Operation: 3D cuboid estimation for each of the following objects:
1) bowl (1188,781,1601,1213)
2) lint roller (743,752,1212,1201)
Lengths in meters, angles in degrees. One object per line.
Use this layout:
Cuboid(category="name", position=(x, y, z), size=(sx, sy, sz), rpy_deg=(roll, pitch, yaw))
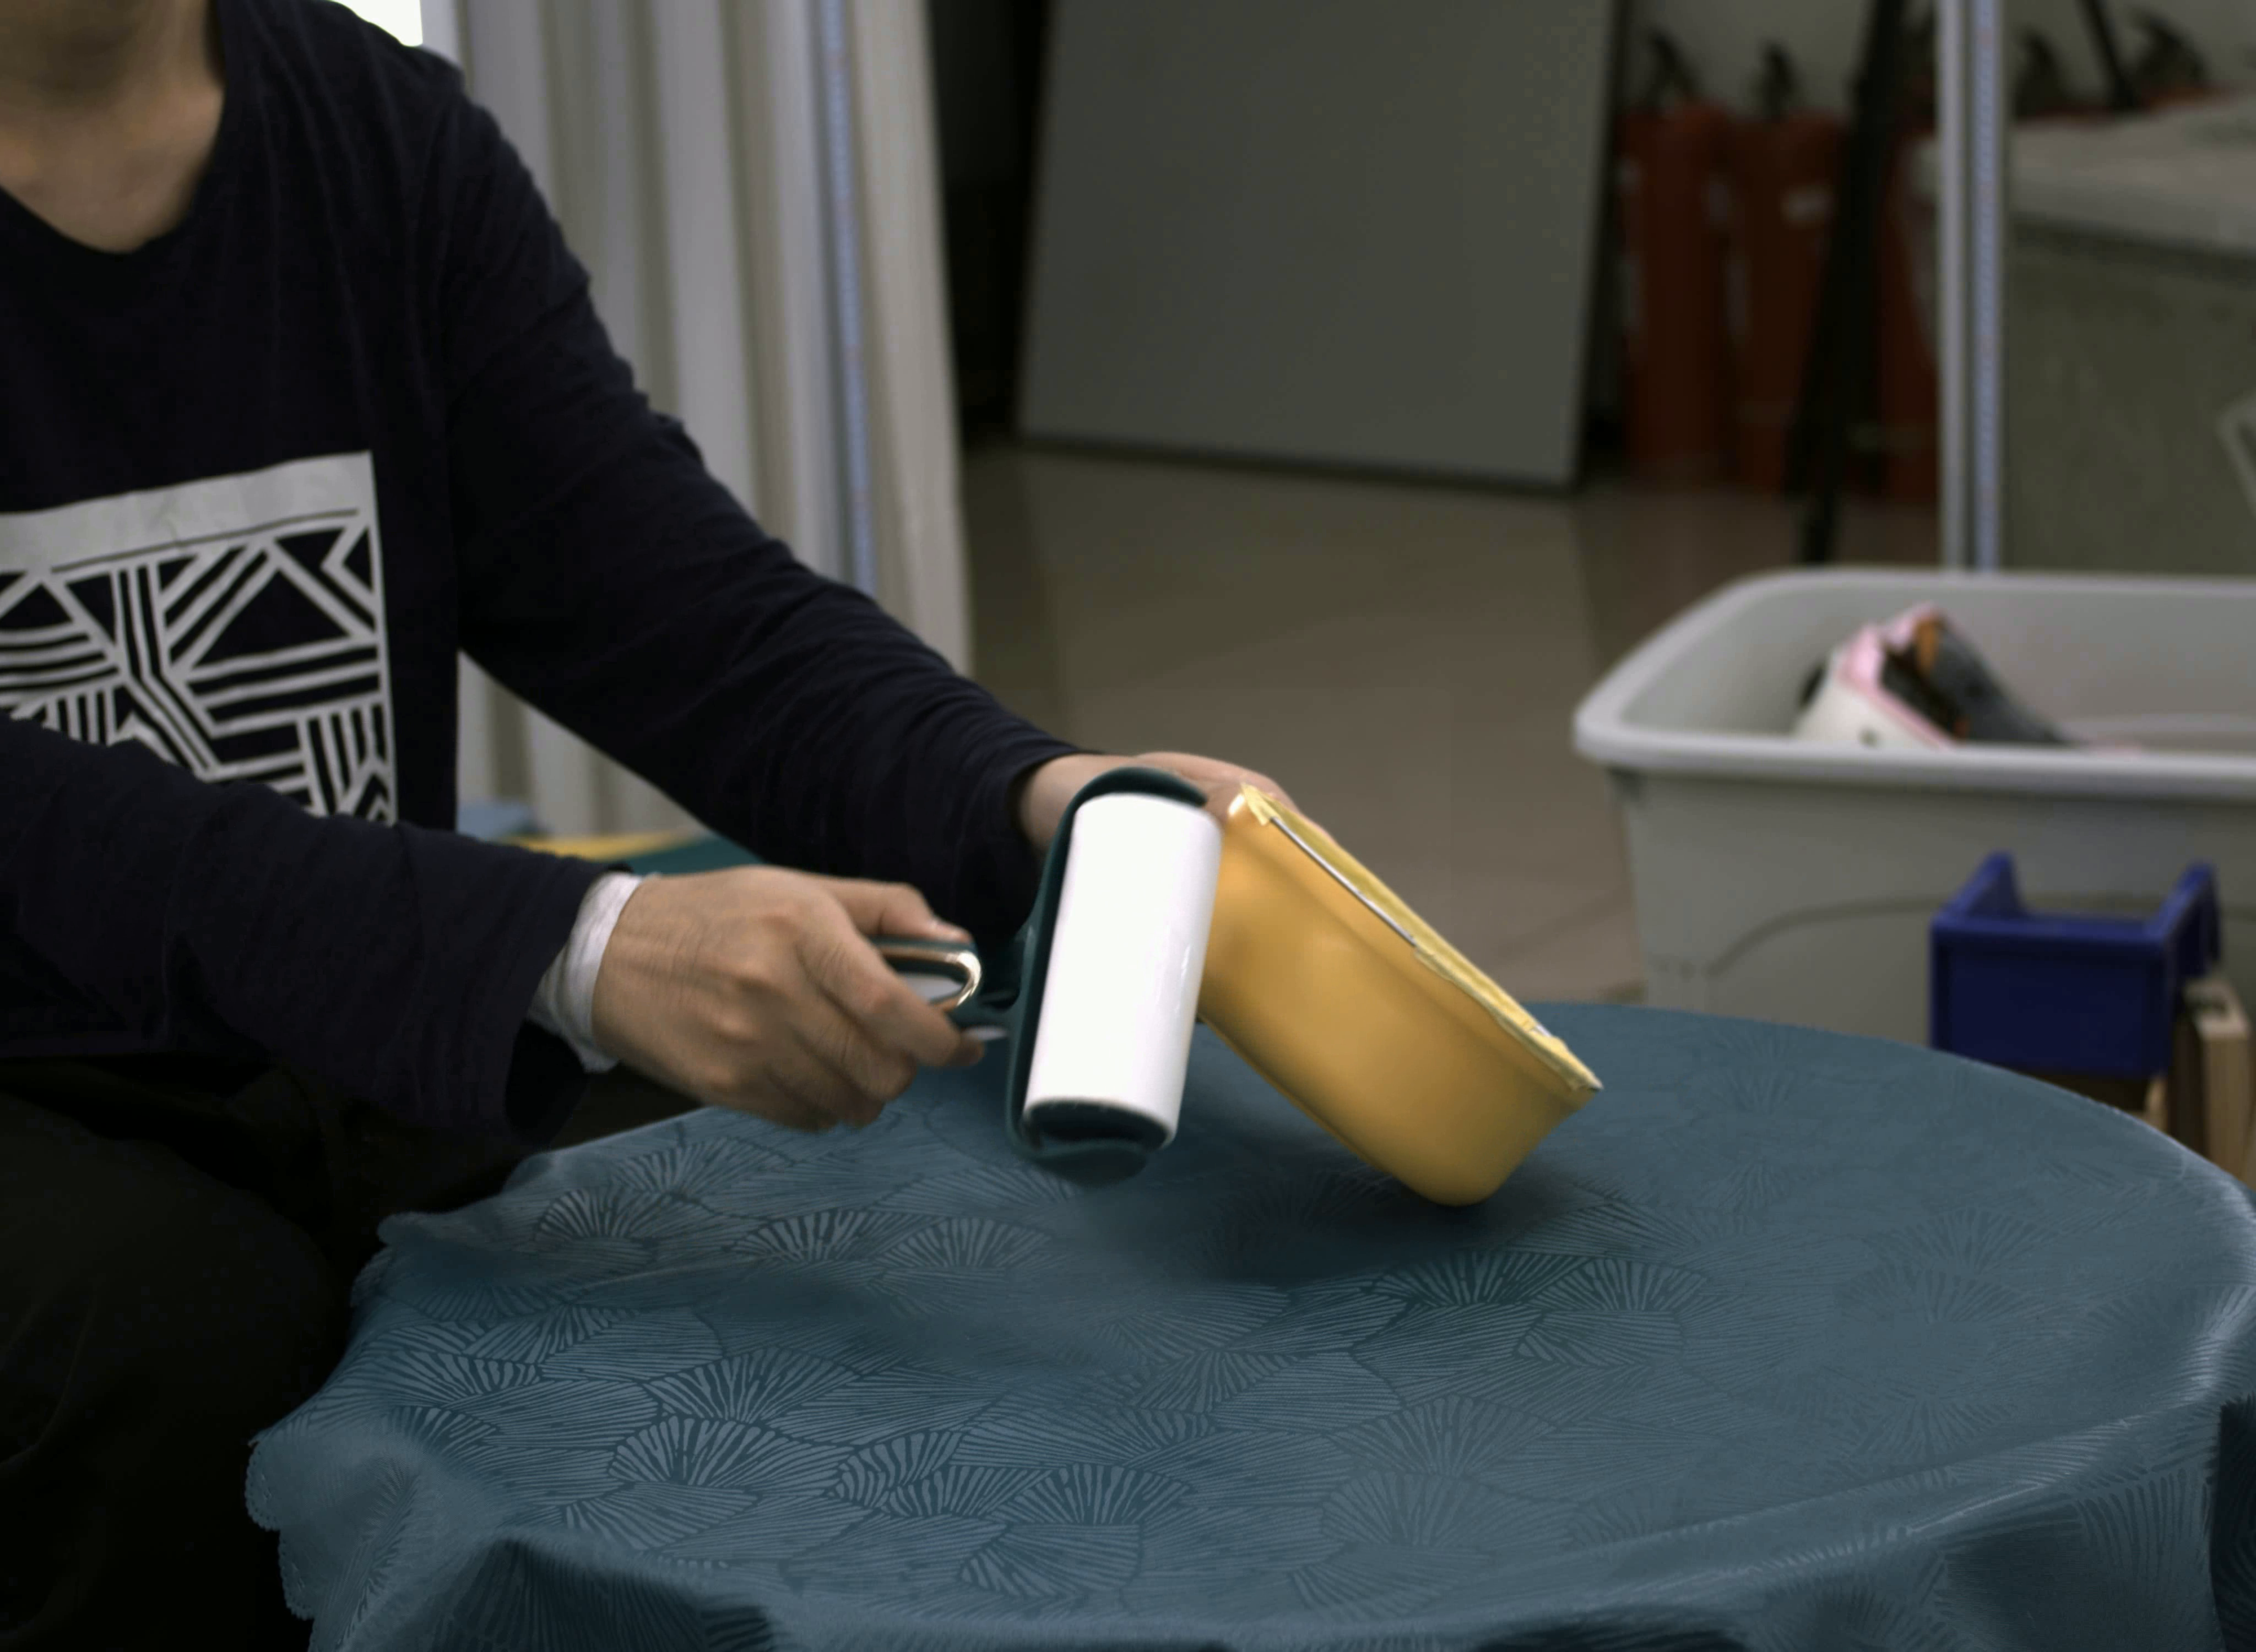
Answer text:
Cuboid(category="bowl", position=(0.069, 0.055, 1.744), size=(0.150, 0.074, 0.181), rpy_deg=(36, 5, -40))
Cuboid(category="lint roller", position=(-0.059, 0.052, 1.671), size=(0.181, 0.136, 0.047), rpy_deg=(-6, -26, 34))
